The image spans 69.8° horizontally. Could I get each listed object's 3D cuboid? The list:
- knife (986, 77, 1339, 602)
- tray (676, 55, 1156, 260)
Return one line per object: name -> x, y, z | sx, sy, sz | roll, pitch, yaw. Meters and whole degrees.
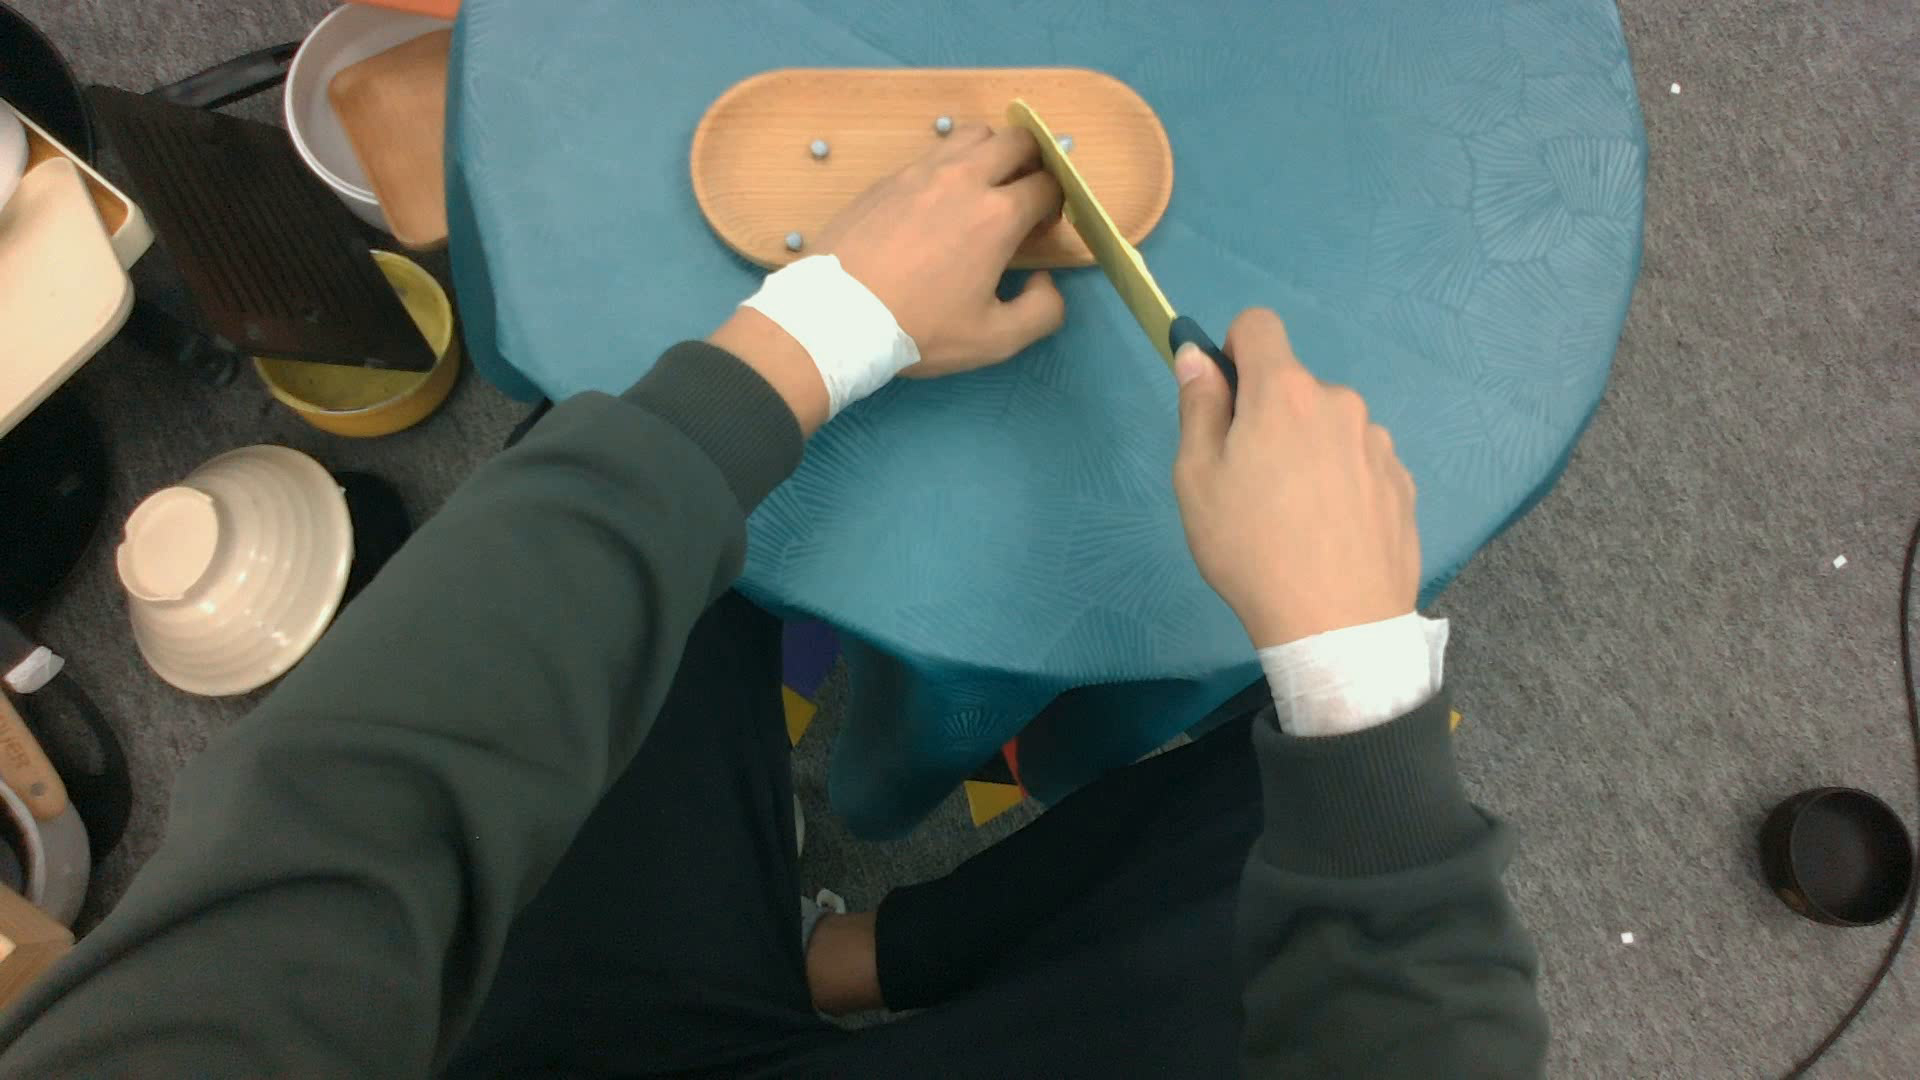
knife -> 0.077, -0.094, 0.592 | 0.027, 0.081, 0.290 | -30, 69, 4
tray -> -0.019, -0.184, 0.664 | 0.231, 0.020, 0.102 | -3, 80, -10
